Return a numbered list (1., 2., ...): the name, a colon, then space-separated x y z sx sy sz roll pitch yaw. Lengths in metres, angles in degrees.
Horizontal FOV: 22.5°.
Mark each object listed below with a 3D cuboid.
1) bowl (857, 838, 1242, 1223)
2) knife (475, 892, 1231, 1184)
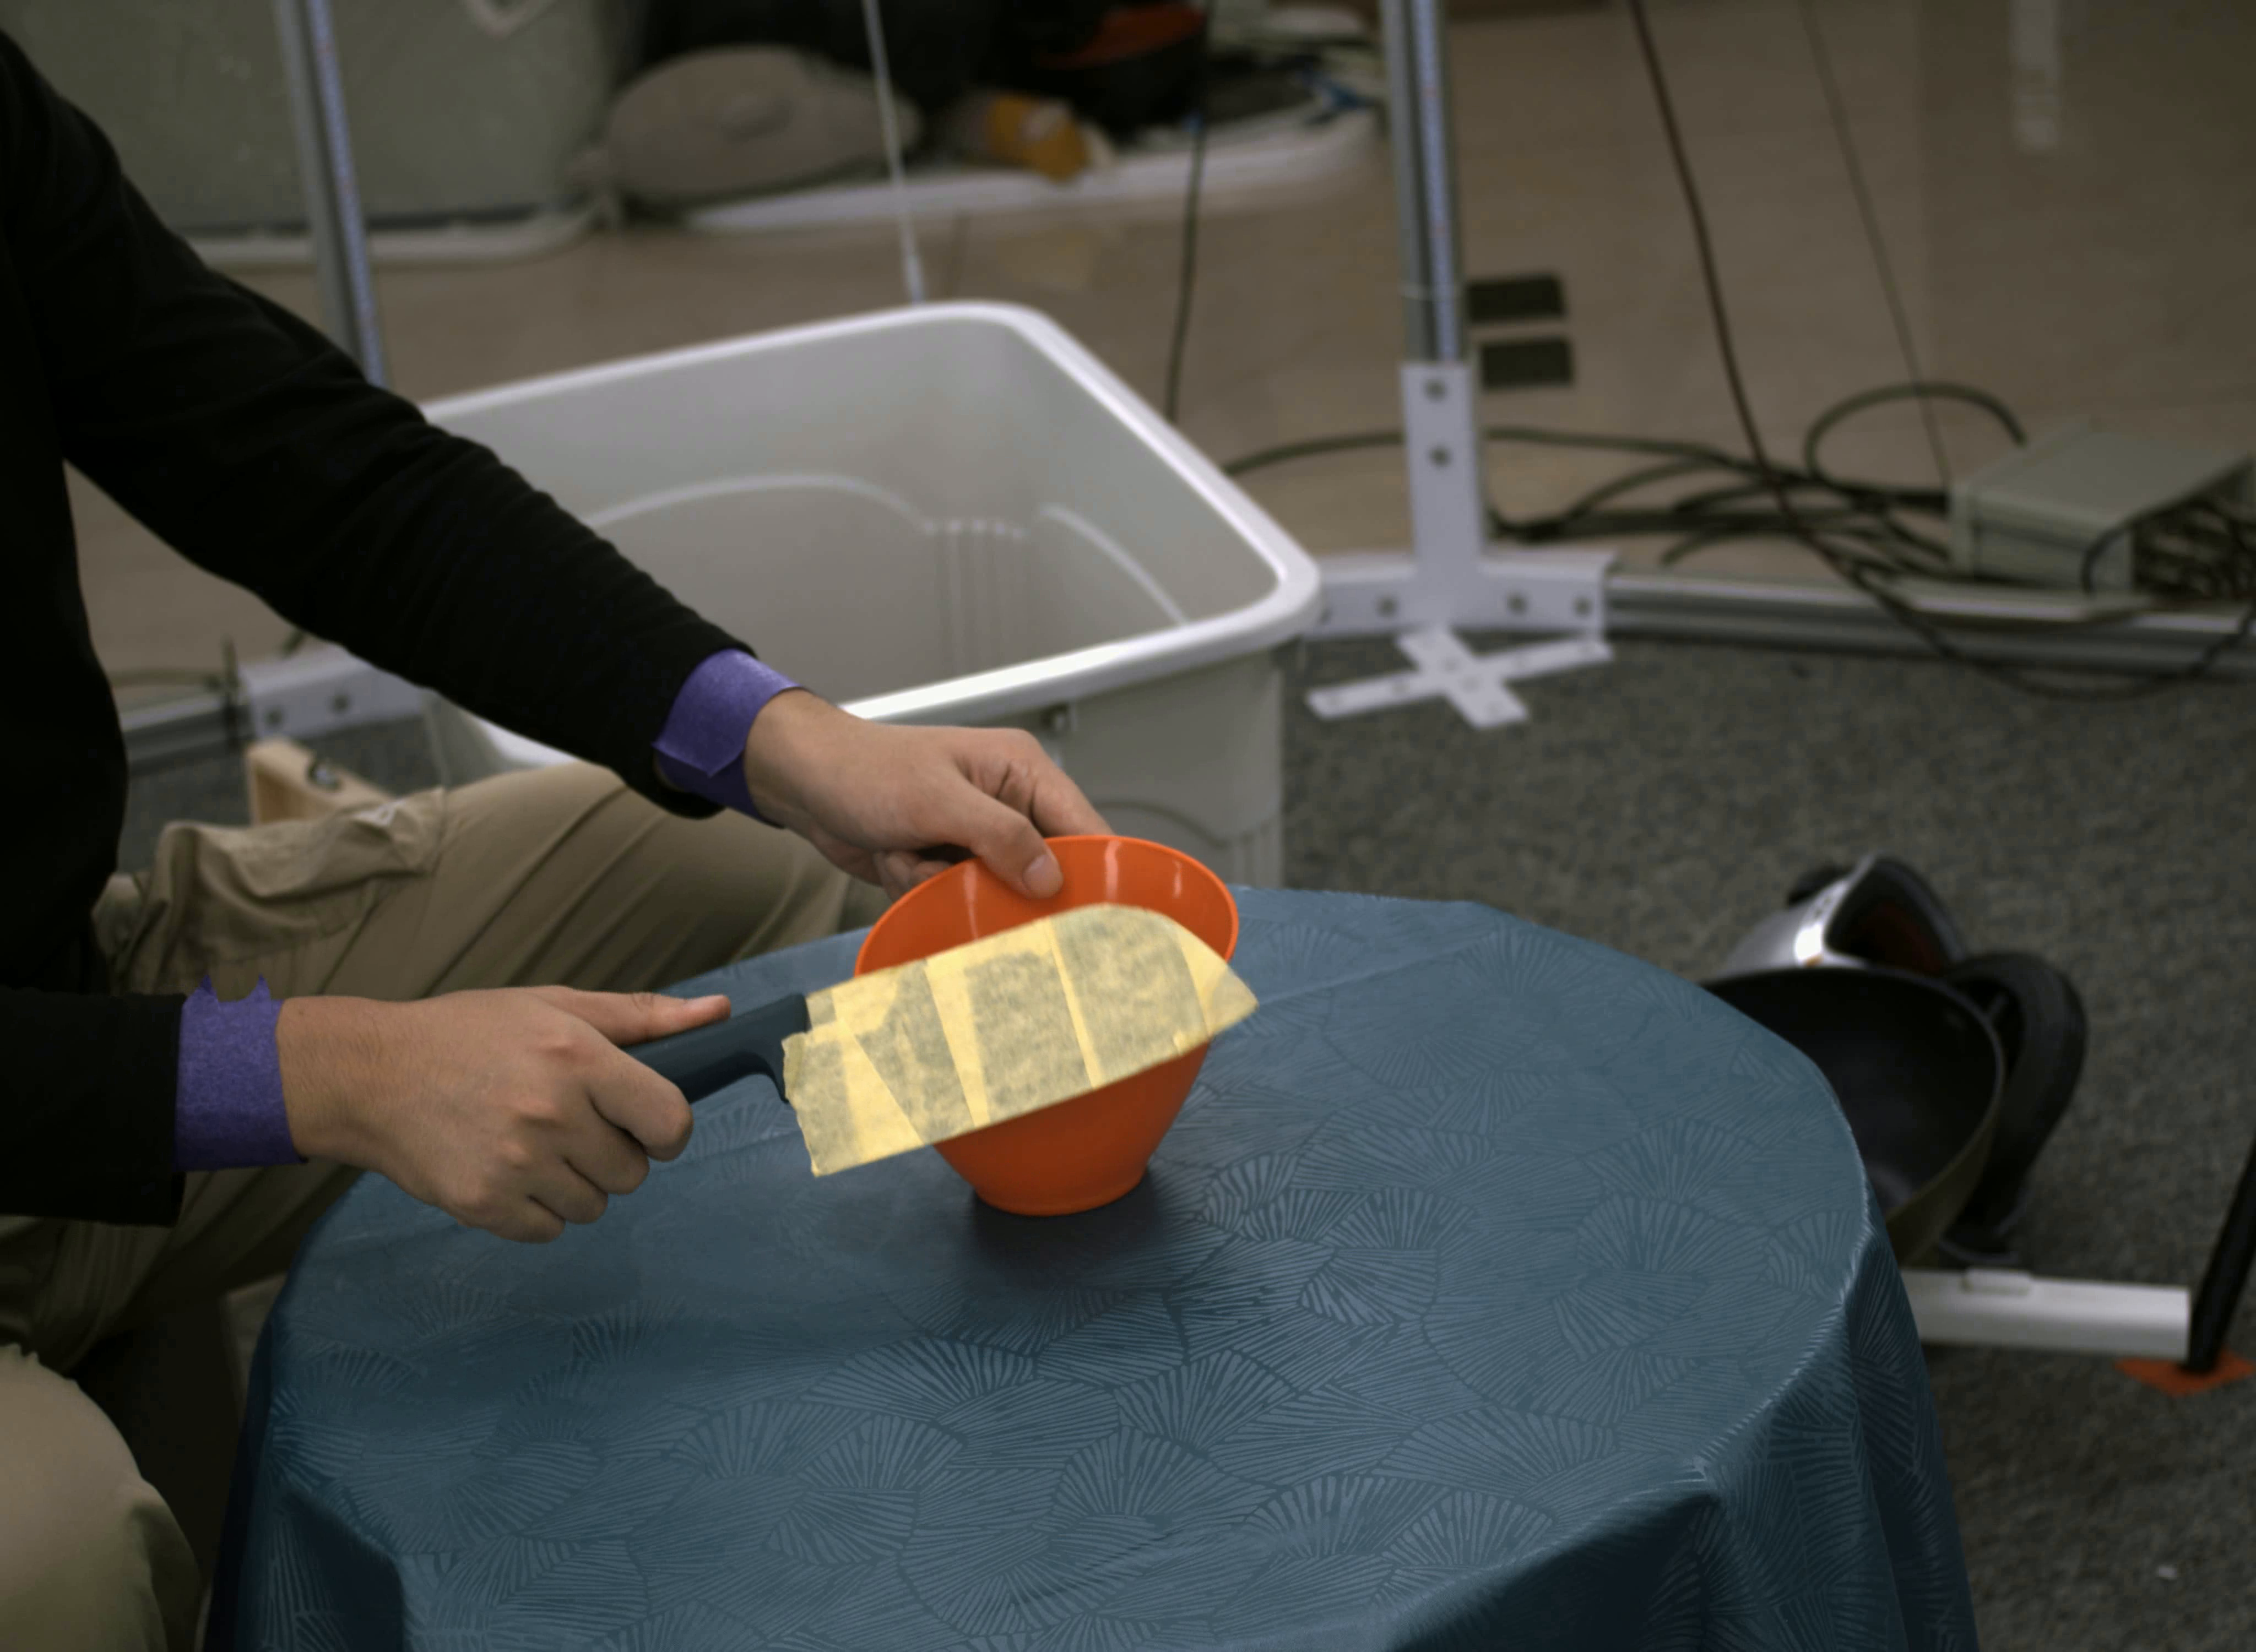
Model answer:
1. bowl: -0.026 0.084 2.156 0.148 0.106 0.146 -6 28 3
2. knife: -0.100 0.088 2.075 0.289 0.027 0.080 -17 61 5
